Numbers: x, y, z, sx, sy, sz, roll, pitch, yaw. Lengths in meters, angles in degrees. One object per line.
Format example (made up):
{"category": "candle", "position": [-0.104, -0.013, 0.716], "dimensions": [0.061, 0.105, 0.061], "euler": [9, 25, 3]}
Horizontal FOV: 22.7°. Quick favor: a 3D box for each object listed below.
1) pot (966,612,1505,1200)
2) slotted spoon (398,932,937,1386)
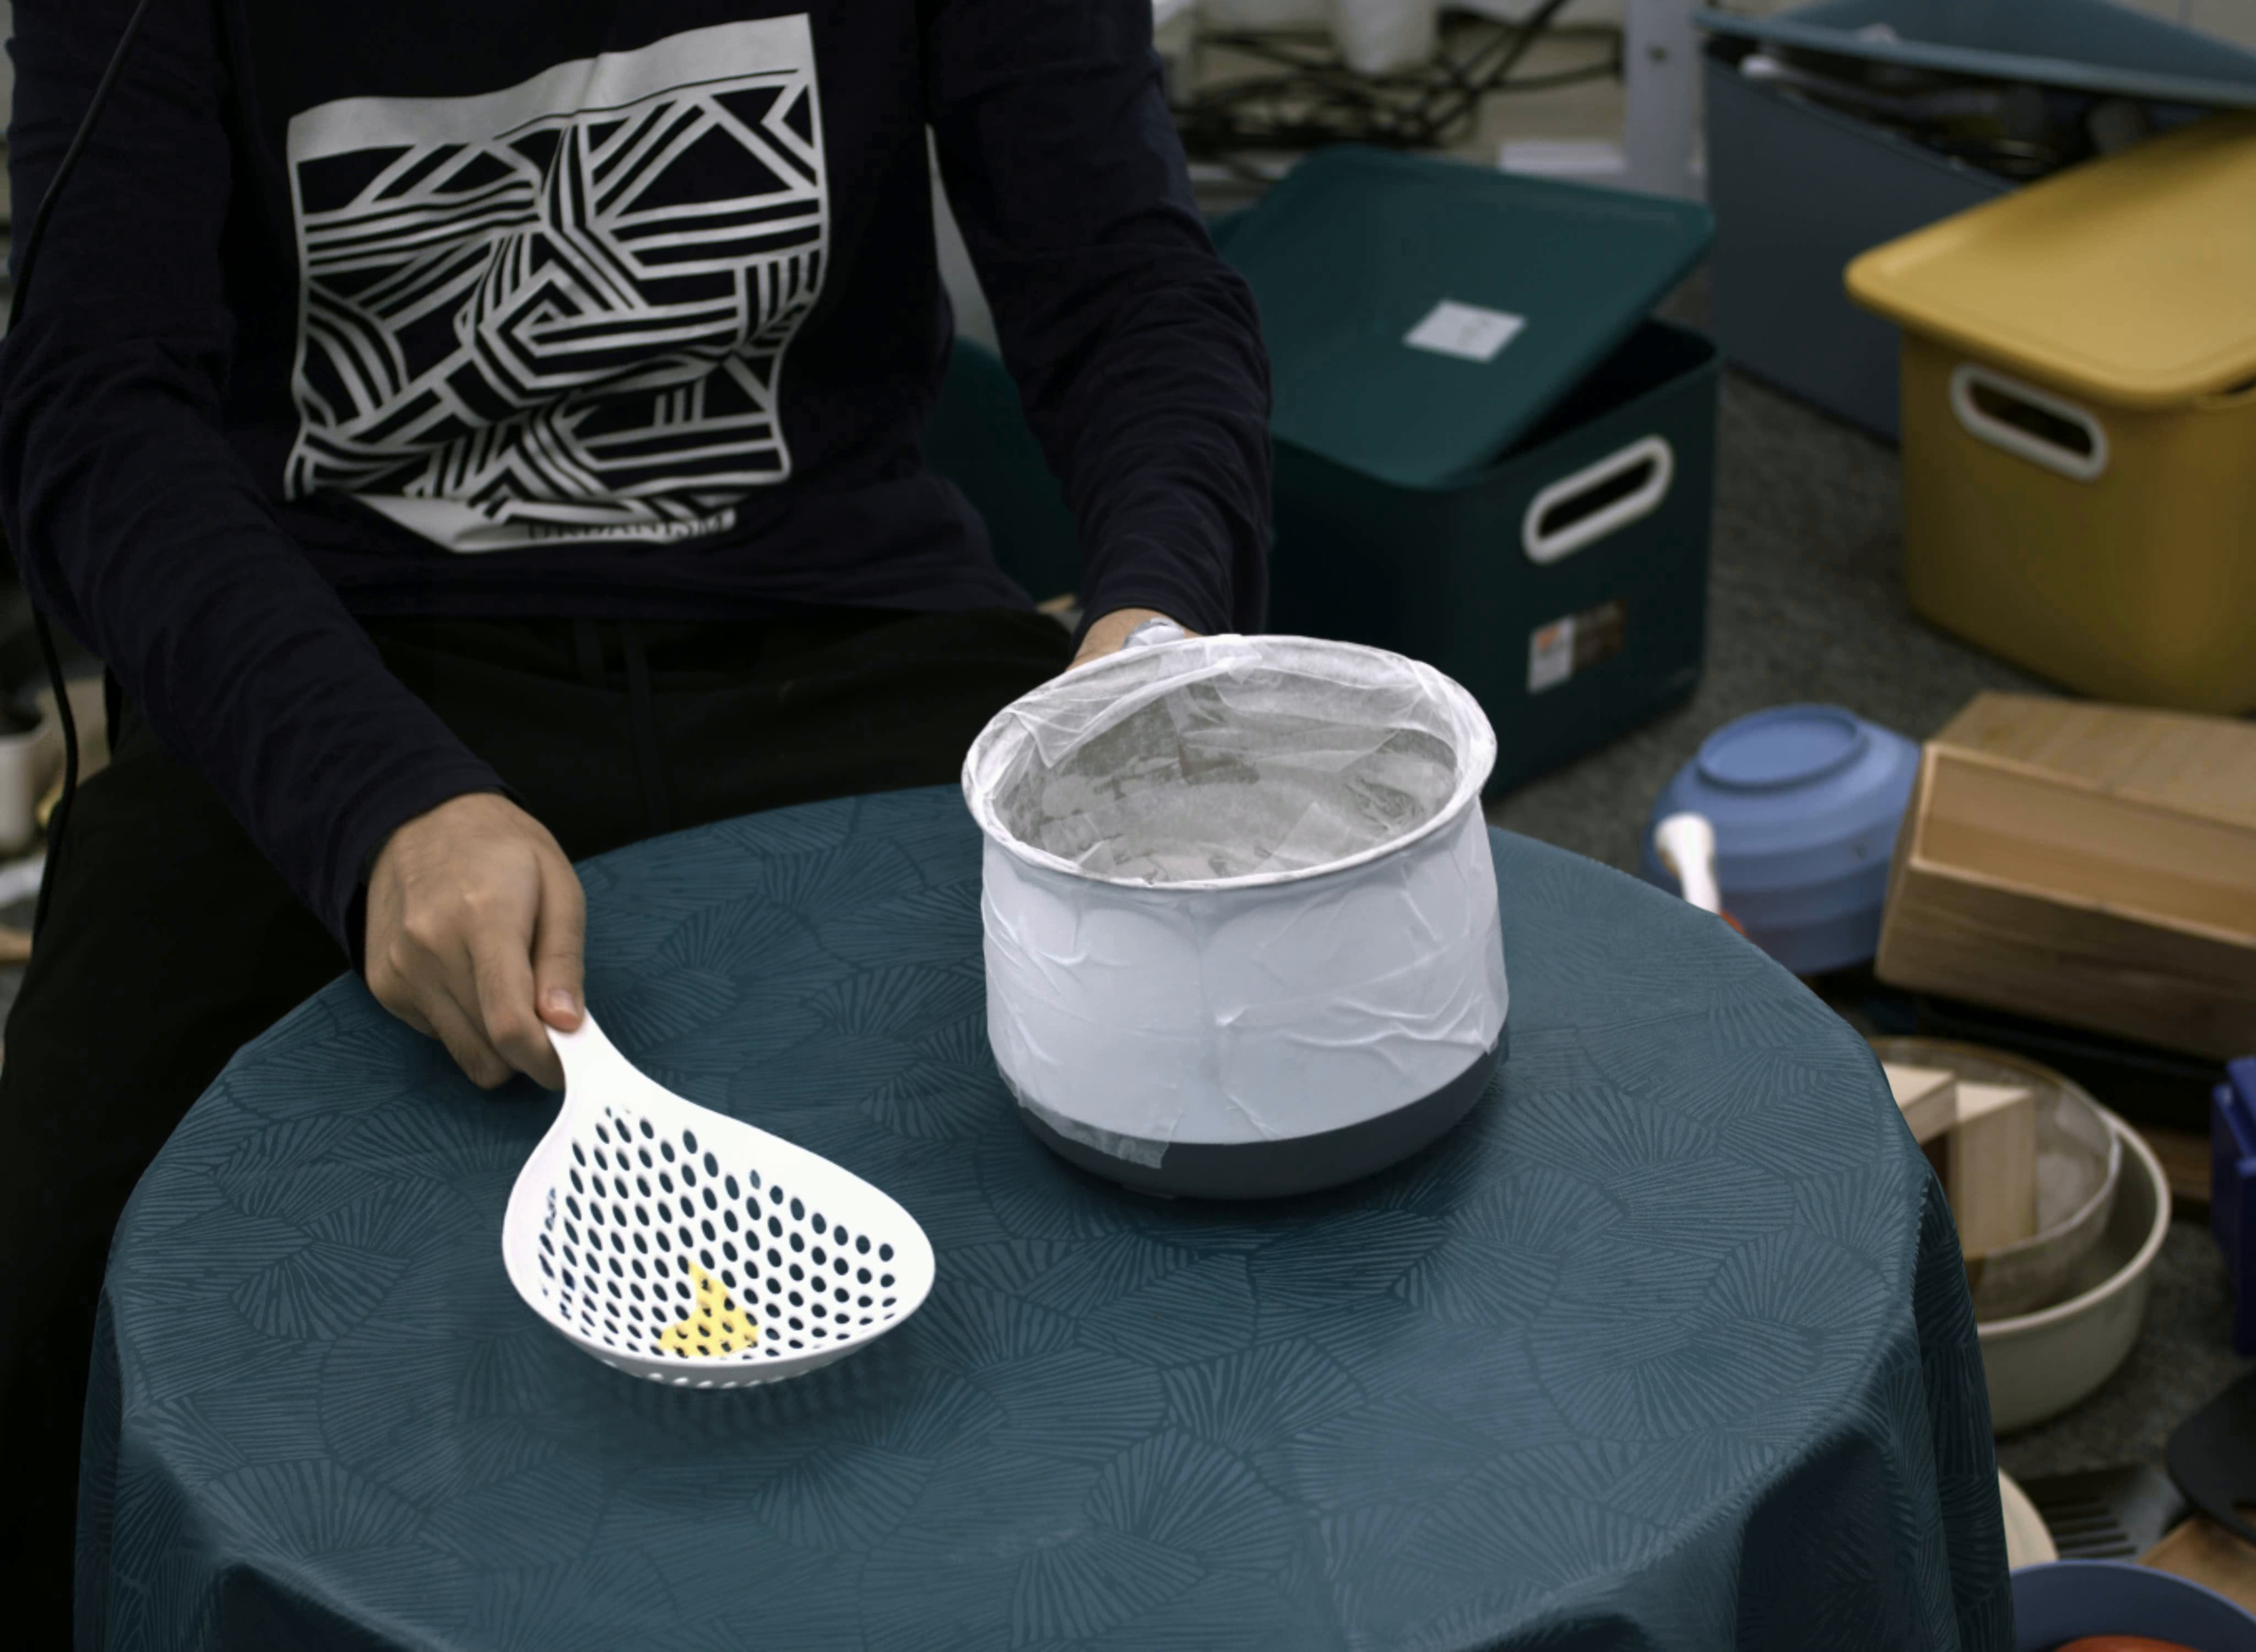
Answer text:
{"category": "pot", "position": [0.030, 0.020, 1.904], "dimensions": [0.179, 0.135, 0.236], "euler": [-9, 28, -13]}
{"category": "slotted spoon", "position": [-0.175, 0.098, 1.863], "dimensions": [0.137, 0.050, 0.351], "euler": [-9, 31, -23]}
